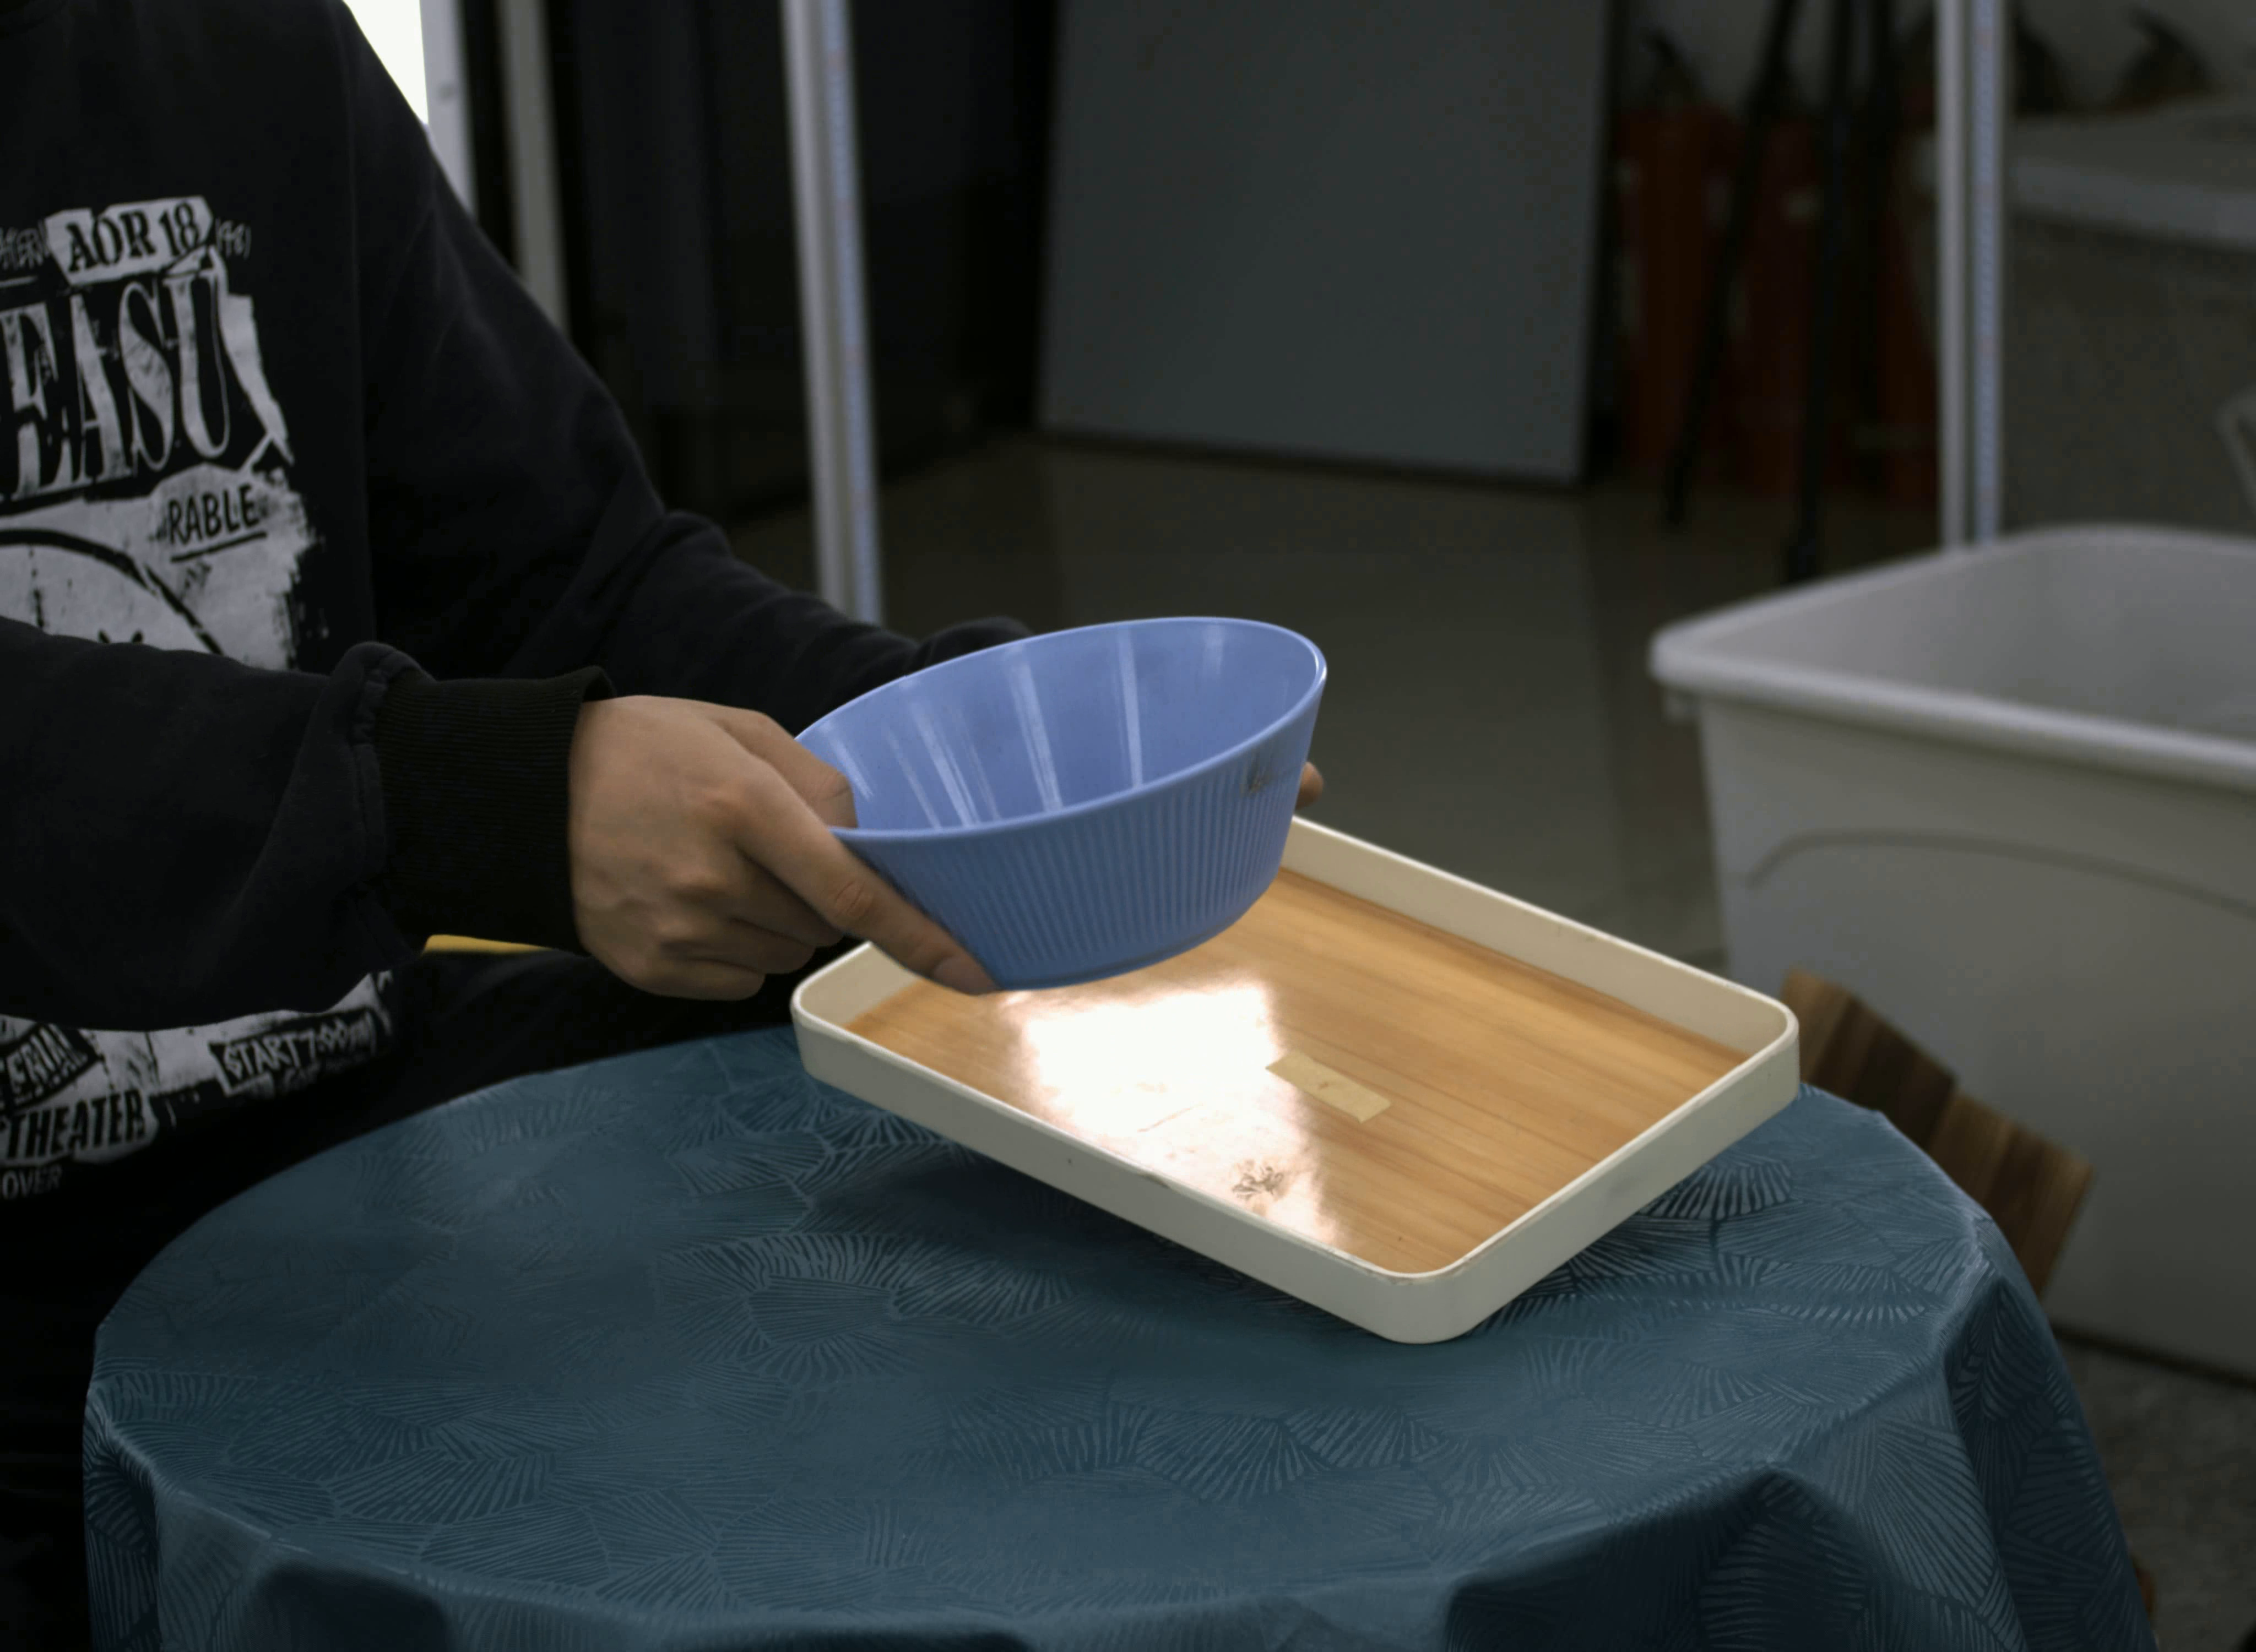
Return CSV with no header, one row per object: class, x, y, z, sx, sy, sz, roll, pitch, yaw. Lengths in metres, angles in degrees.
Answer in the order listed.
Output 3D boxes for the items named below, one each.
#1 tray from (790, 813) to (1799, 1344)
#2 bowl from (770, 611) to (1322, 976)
tray,0.051,0.070,1.749,0.188,0.027,0.303,-31,36,-34
bowl,-0.019,-0.006,1.652,0.174,0.071,0.176,-13,17,3
